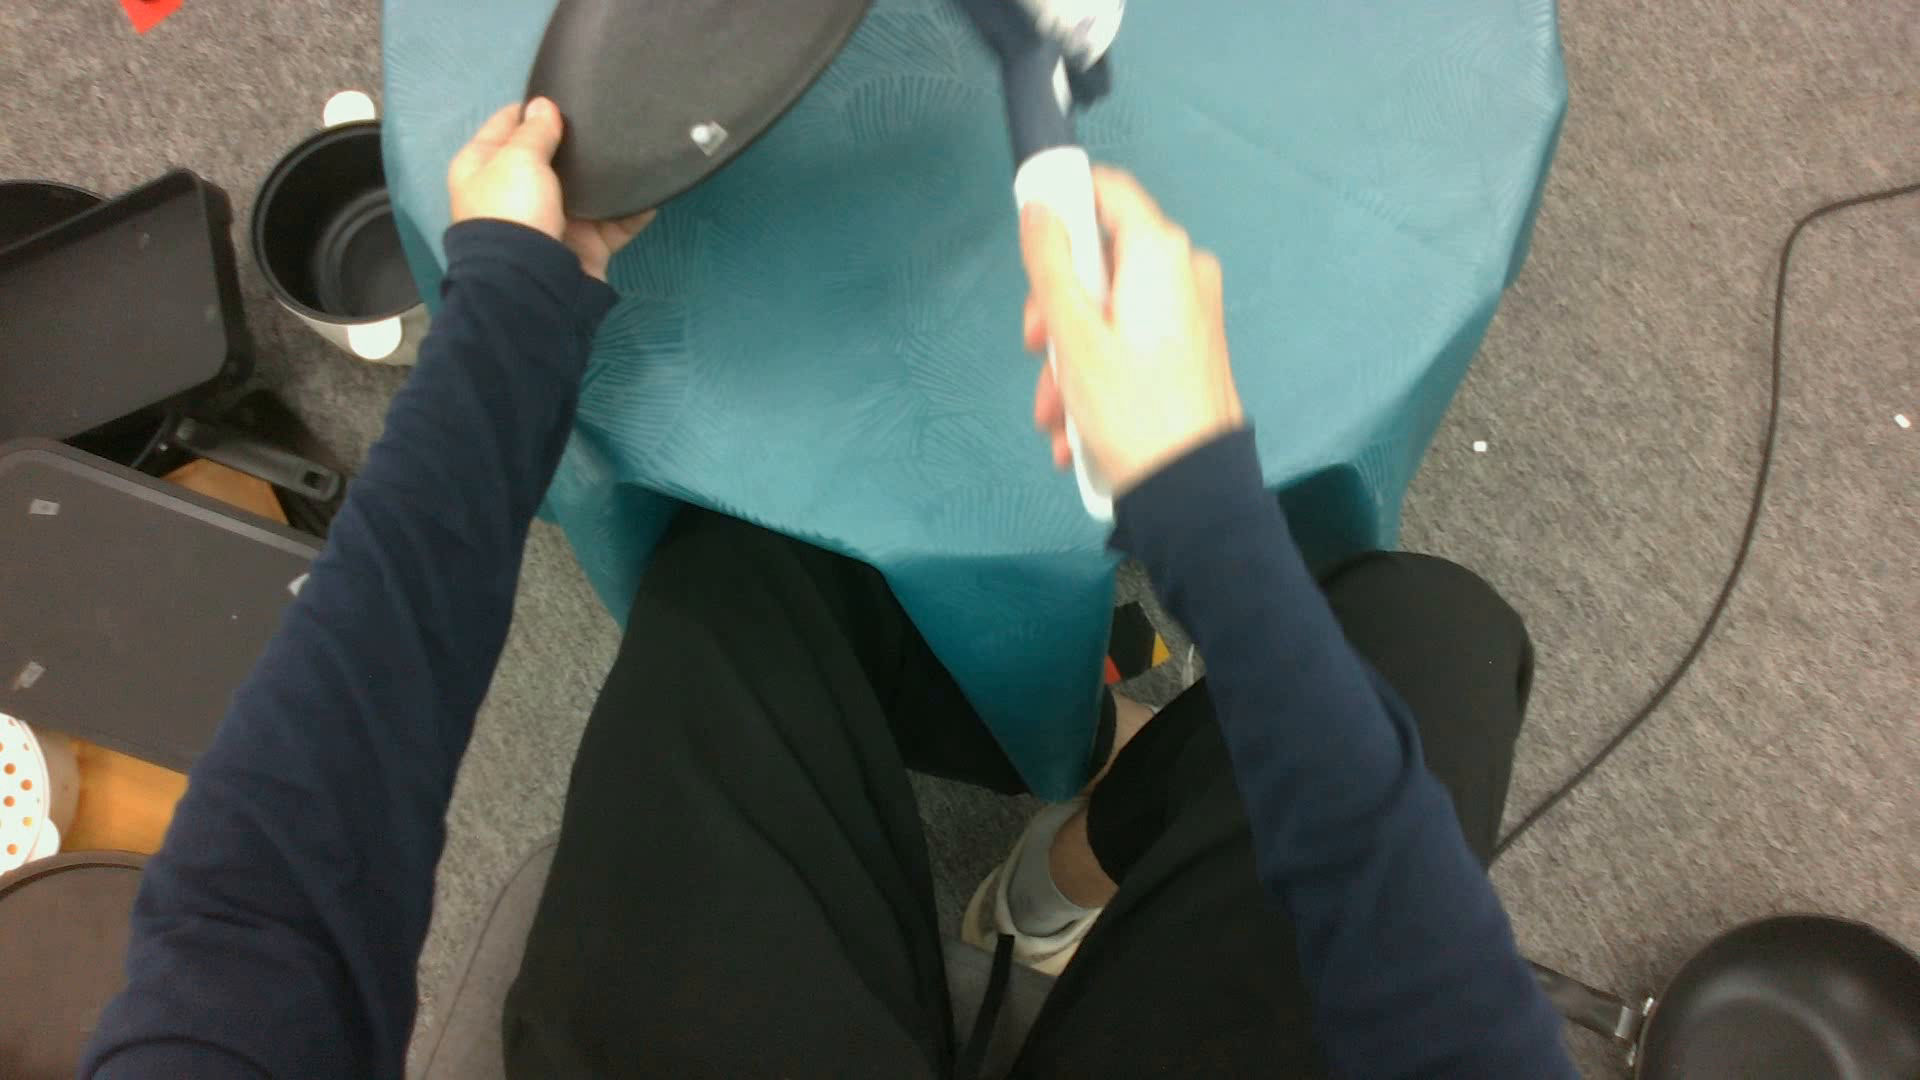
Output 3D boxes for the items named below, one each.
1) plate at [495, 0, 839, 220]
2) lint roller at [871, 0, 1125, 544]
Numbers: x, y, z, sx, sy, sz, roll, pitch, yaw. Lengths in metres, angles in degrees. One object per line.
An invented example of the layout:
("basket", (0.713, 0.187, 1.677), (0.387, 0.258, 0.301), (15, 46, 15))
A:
("plate", (-0.116, -0.244, 0.602), (0.243, 0.023, 0.245), (-18, 59, 32))
("lint roller", (0.028, -0.121, 0.528), (0.050, 0.176, 0.247), (-18, 82, 19))
